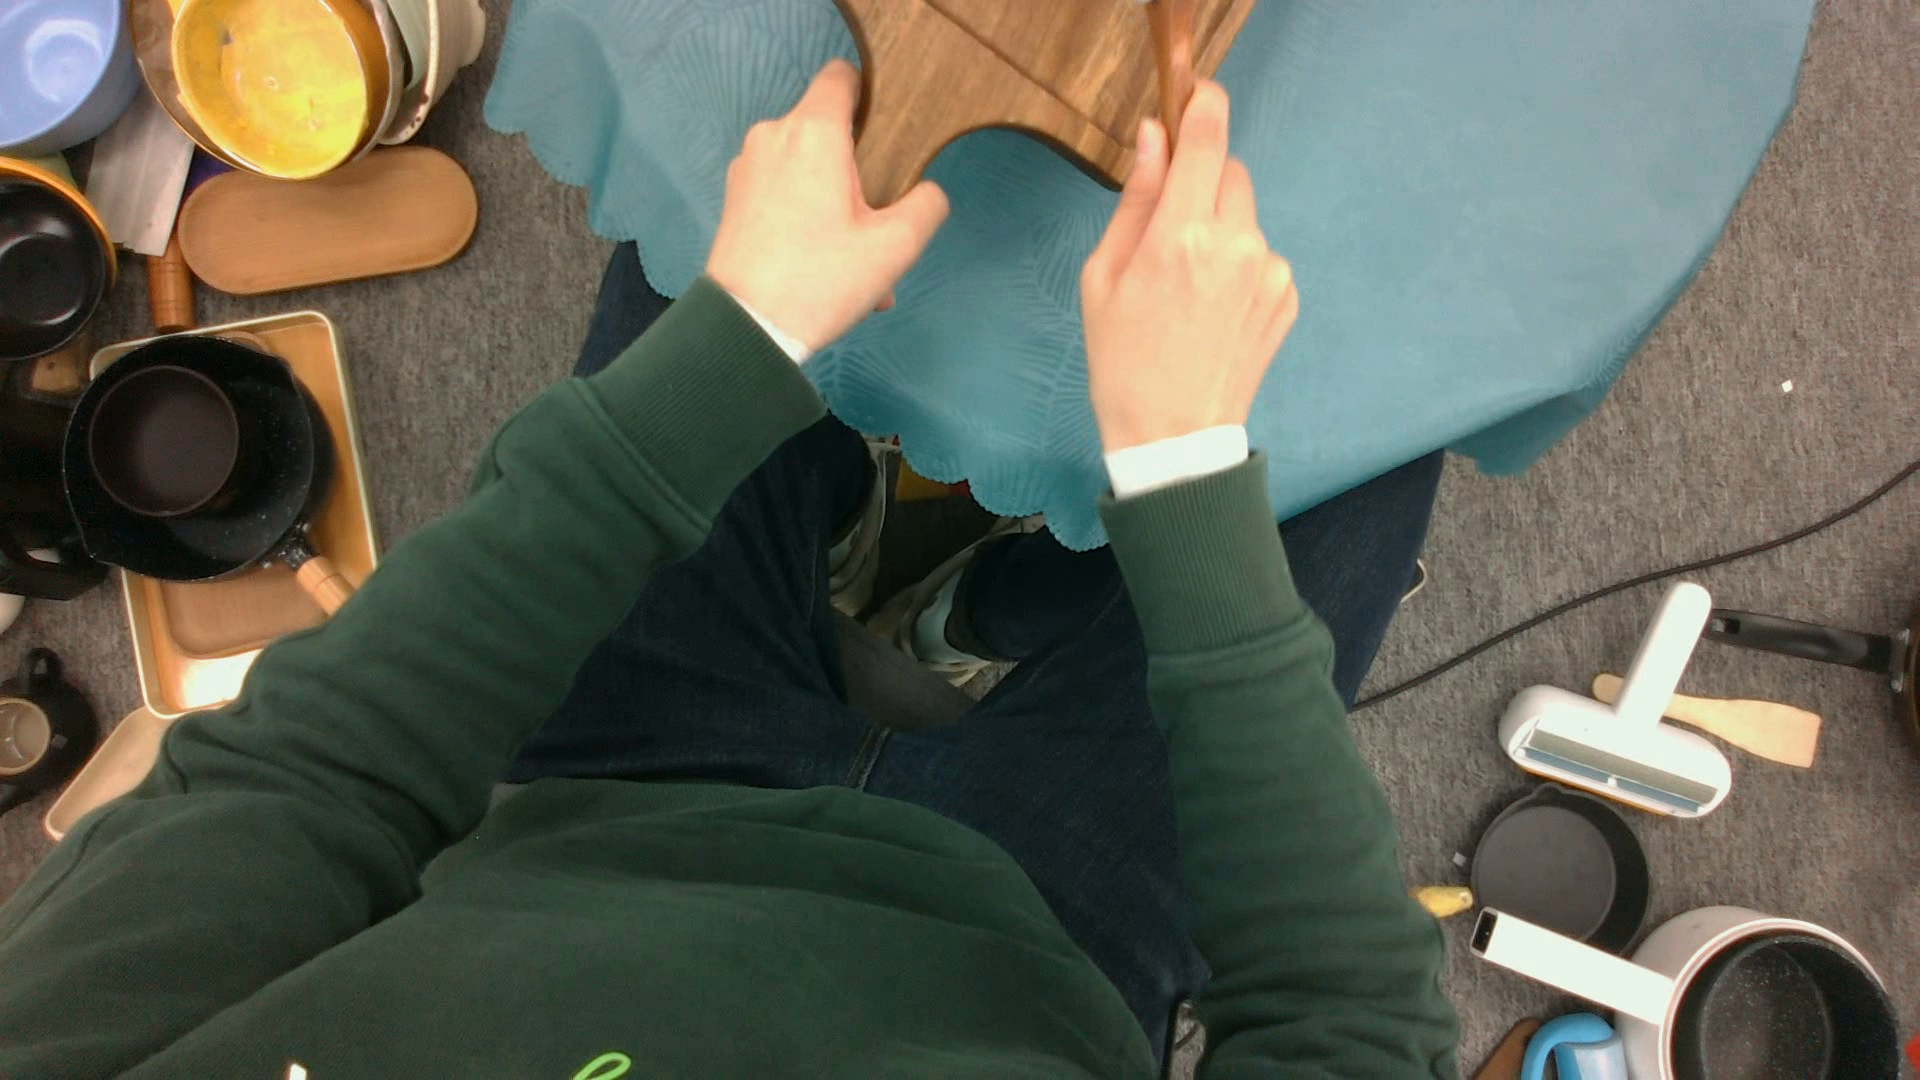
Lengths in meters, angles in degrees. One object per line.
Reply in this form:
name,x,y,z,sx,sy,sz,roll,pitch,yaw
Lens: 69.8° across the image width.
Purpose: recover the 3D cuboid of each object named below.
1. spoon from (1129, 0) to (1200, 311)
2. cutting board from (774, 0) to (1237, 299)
spoon,0.070,-0.190,0.491,0.017,0.075,0.215,-6,95,-23
cutting board,0.023,-0.250,0.518,0.201,0.023,0.352,28,93,-25
